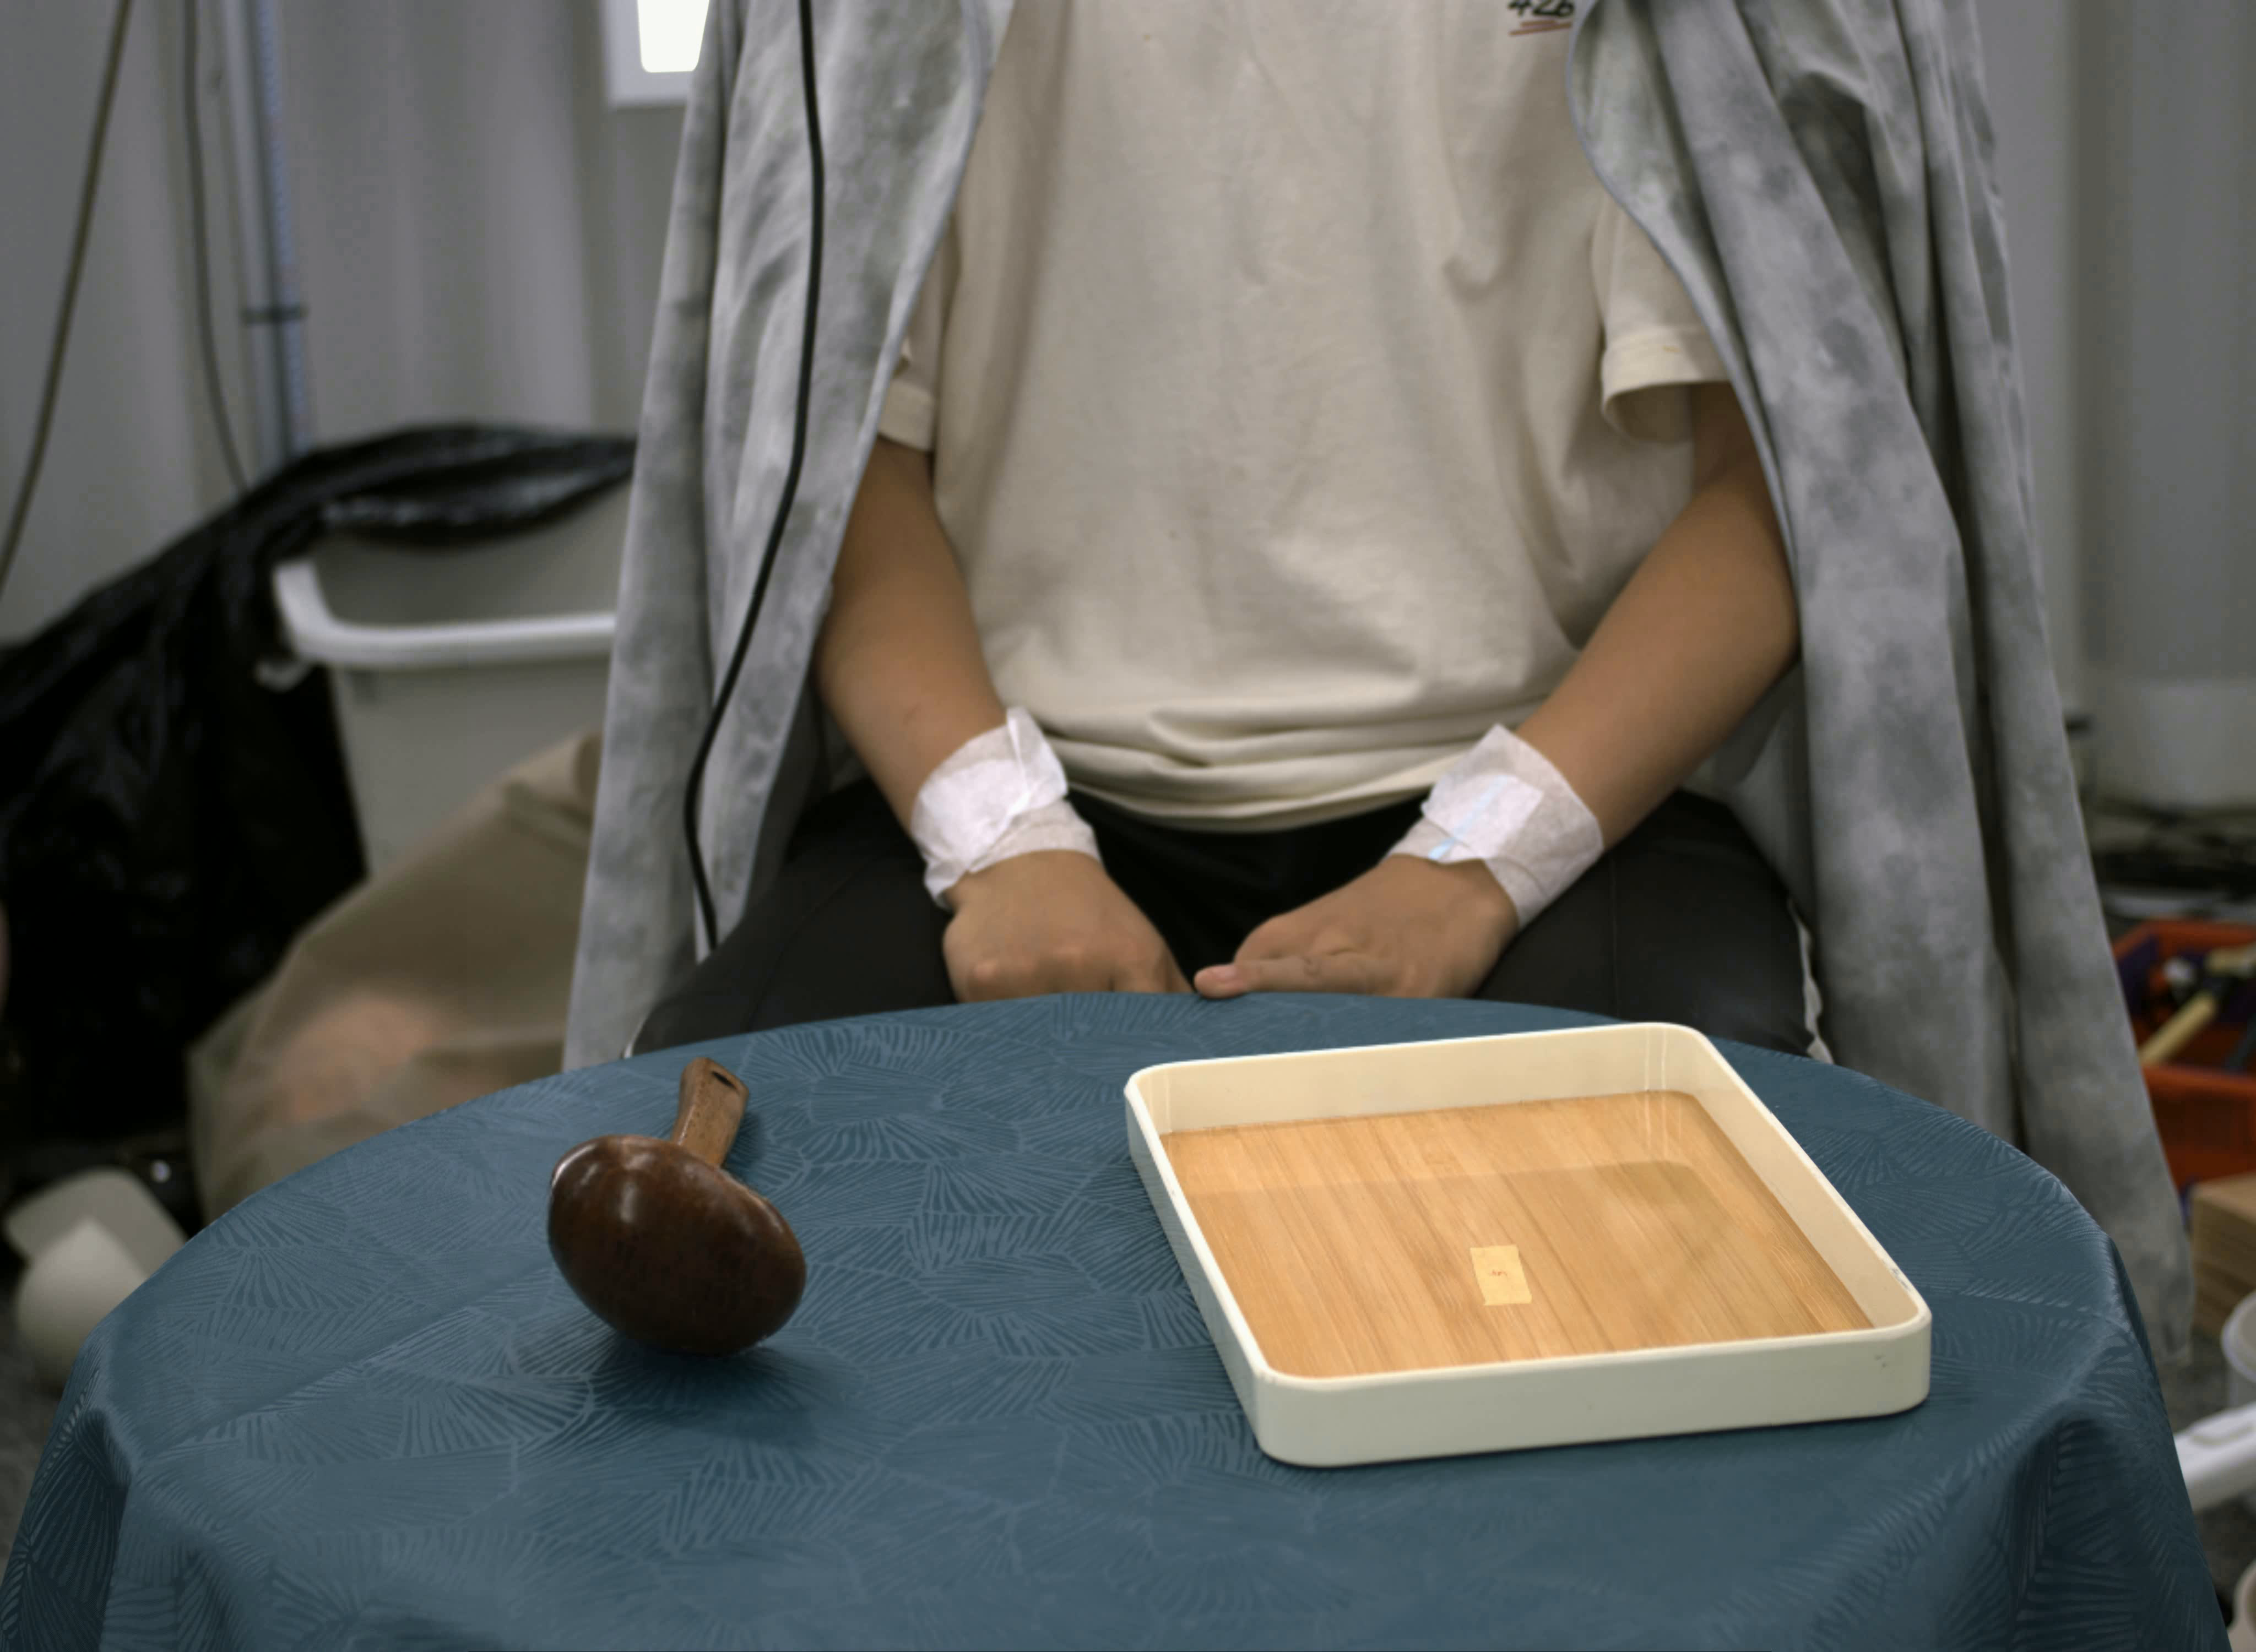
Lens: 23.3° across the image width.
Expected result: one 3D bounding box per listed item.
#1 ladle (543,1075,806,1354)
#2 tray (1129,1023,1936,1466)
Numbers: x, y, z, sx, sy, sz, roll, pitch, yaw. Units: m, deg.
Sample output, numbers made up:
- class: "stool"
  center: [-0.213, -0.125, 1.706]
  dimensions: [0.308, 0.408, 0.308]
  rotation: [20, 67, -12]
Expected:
- class: "ladle"
  center: [-0.125, 0.096, 1.679]
  dimensions: [0.082, 0.076, 0.275]
  rotation: [39, 14, -5]
- class: "tray"
  center: [0.112, 0.120, 1.627]
  dimensions: [0.191, 0.027, 0.302]
  rotation: [-5, 15, -6]
